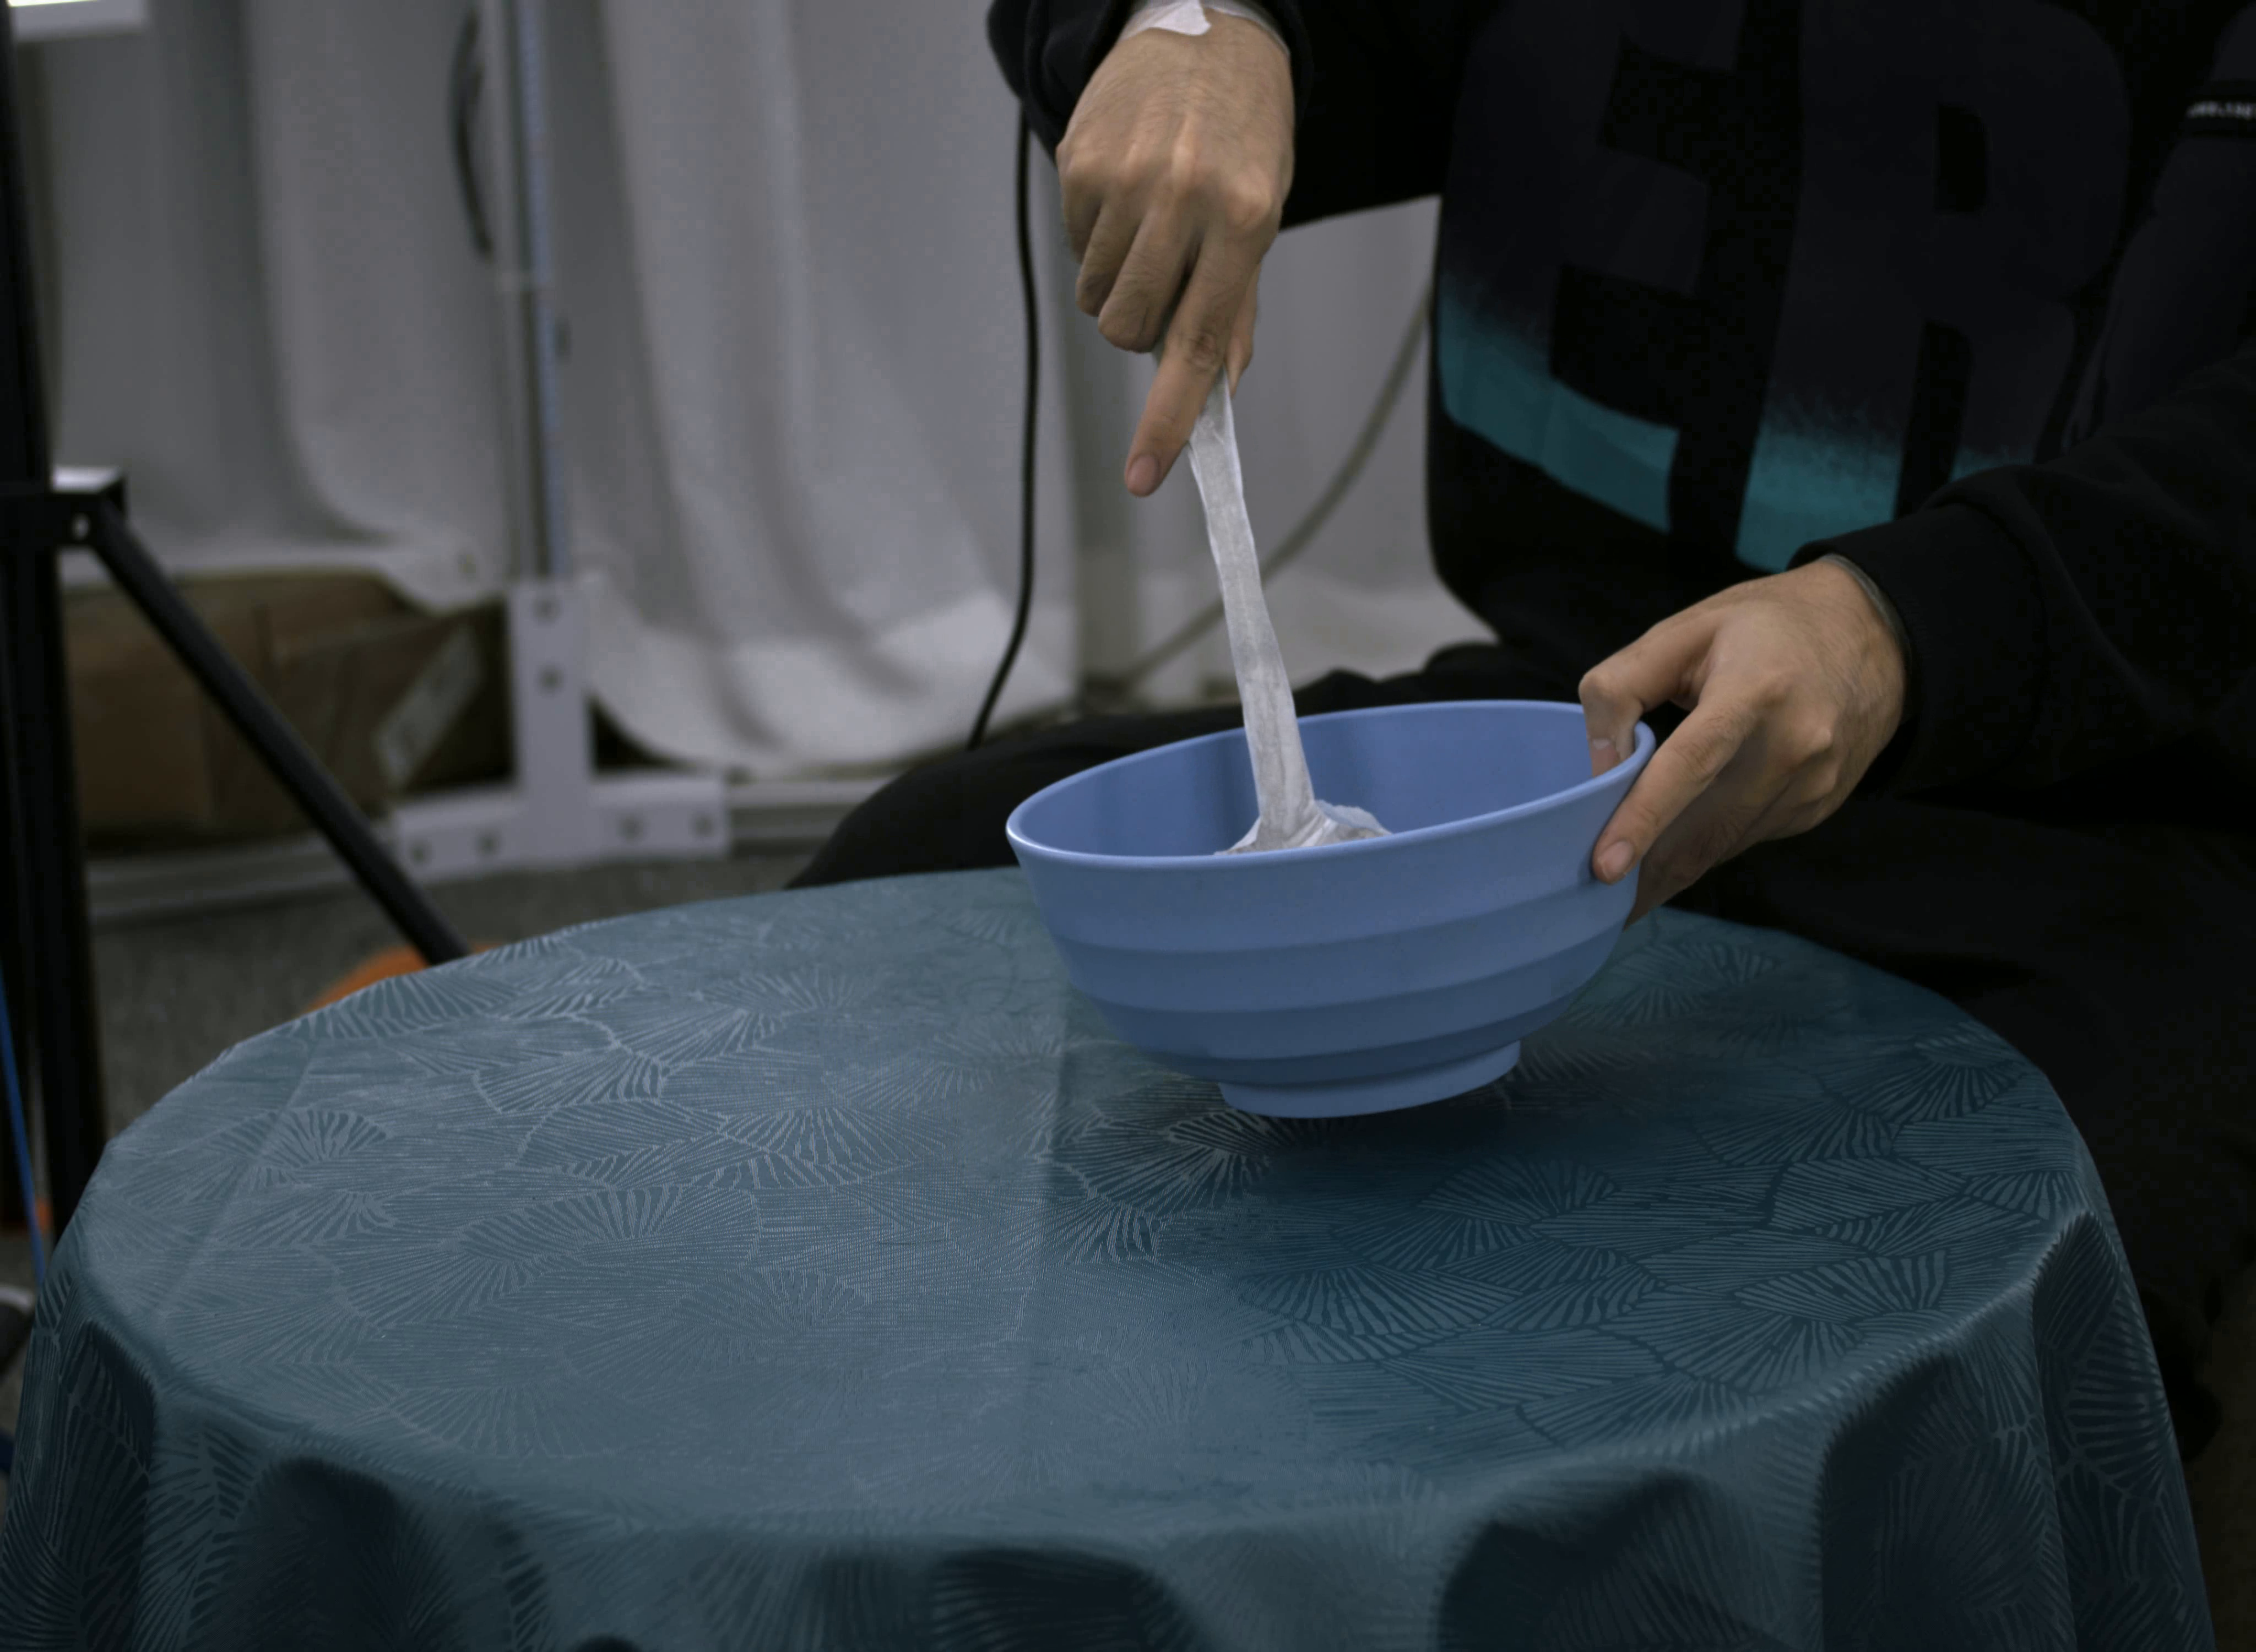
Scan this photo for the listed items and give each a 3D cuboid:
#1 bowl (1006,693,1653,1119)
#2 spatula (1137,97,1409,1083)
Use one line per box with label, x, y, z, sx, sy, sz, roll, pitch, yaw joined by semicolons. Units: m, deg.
bowl;0.067;0.030;1.599;0.196;0.095;0.197;-10;12;1
spatula;0.038;-0.082;1.652;0.098;0.370;0.044;-9;-25;-2
